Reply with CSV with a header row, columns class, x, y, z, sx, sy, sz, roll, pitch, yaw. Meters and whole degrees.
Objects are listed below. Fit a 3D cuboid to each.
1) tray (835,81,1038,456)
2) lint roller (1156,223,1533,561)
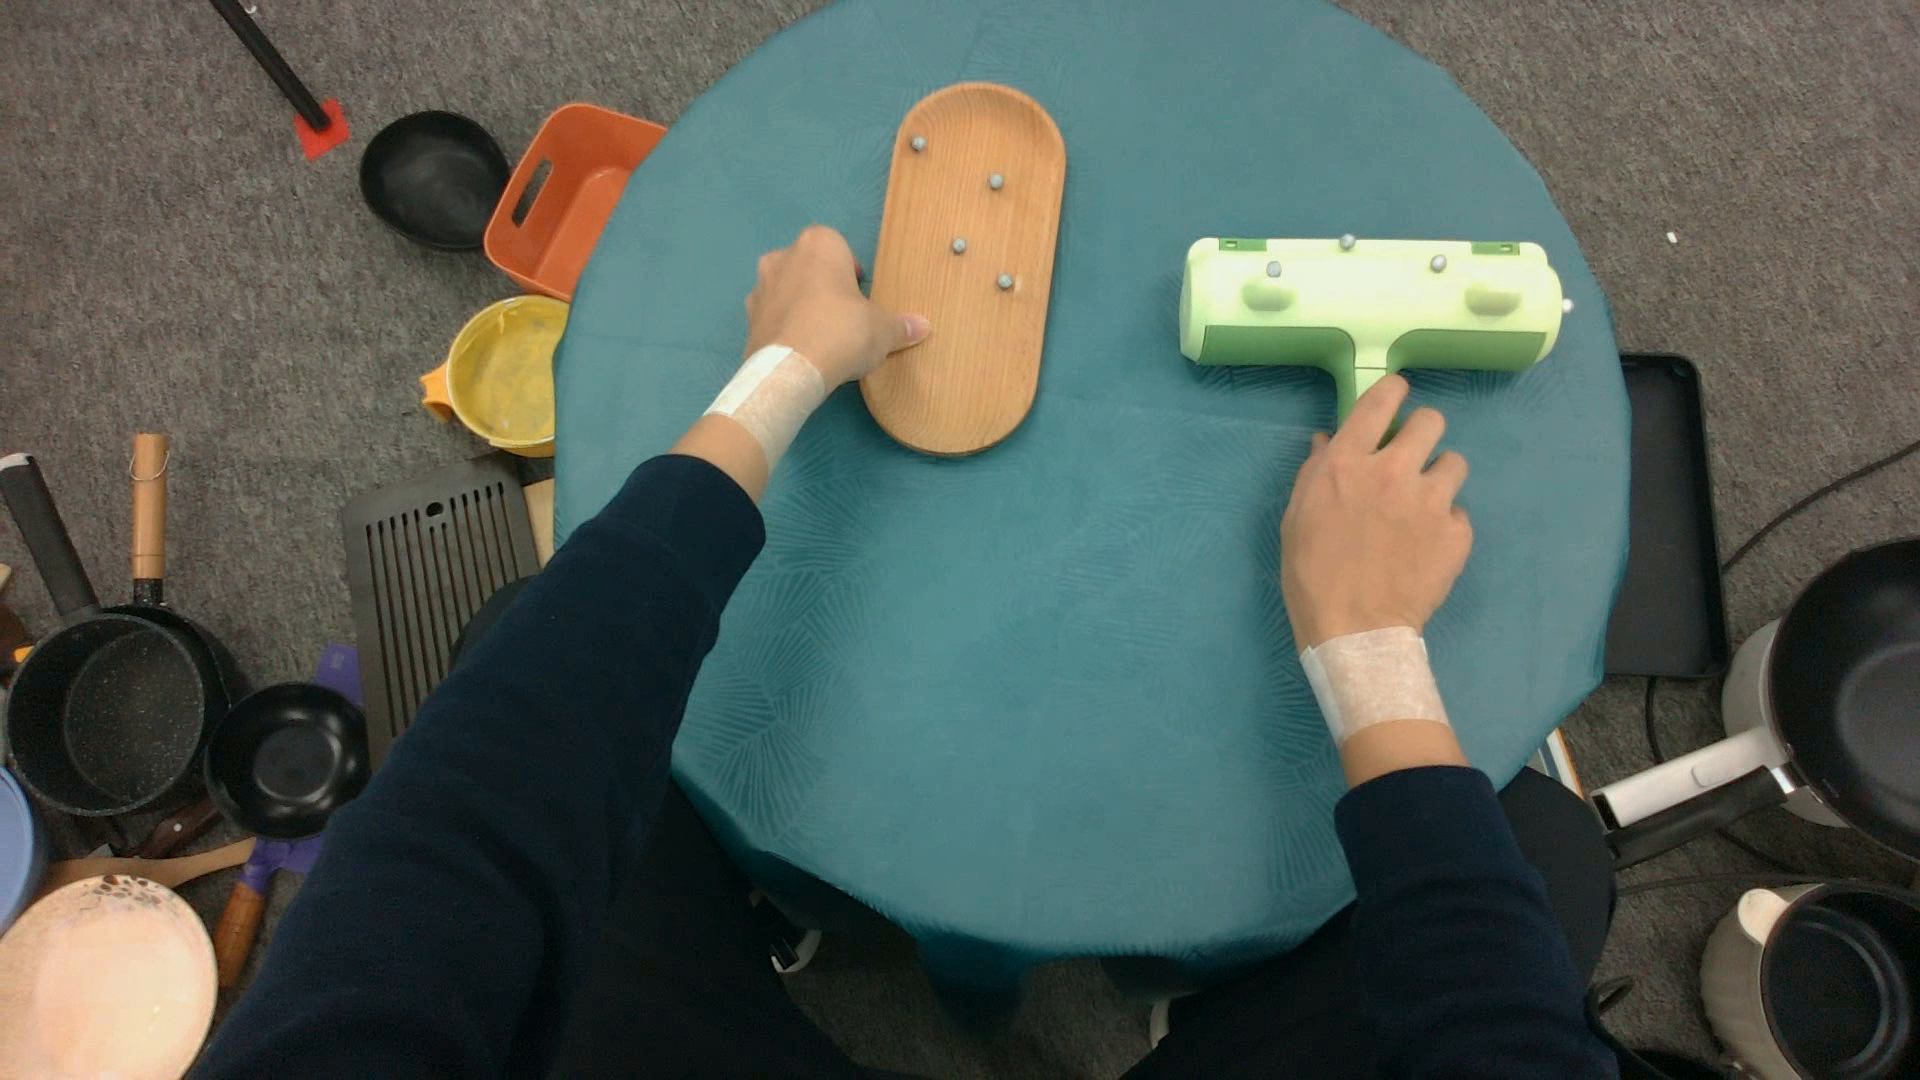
class,x,y,z,sx,sy,sz,roll,pitch,yaw
tray,-0.012,-0.157,0.781,0.102,0.020,0.232,6,75,-1
lint roller,0.208,-0.086,0.726,0.198,0.082,0.184,-1,68,0
